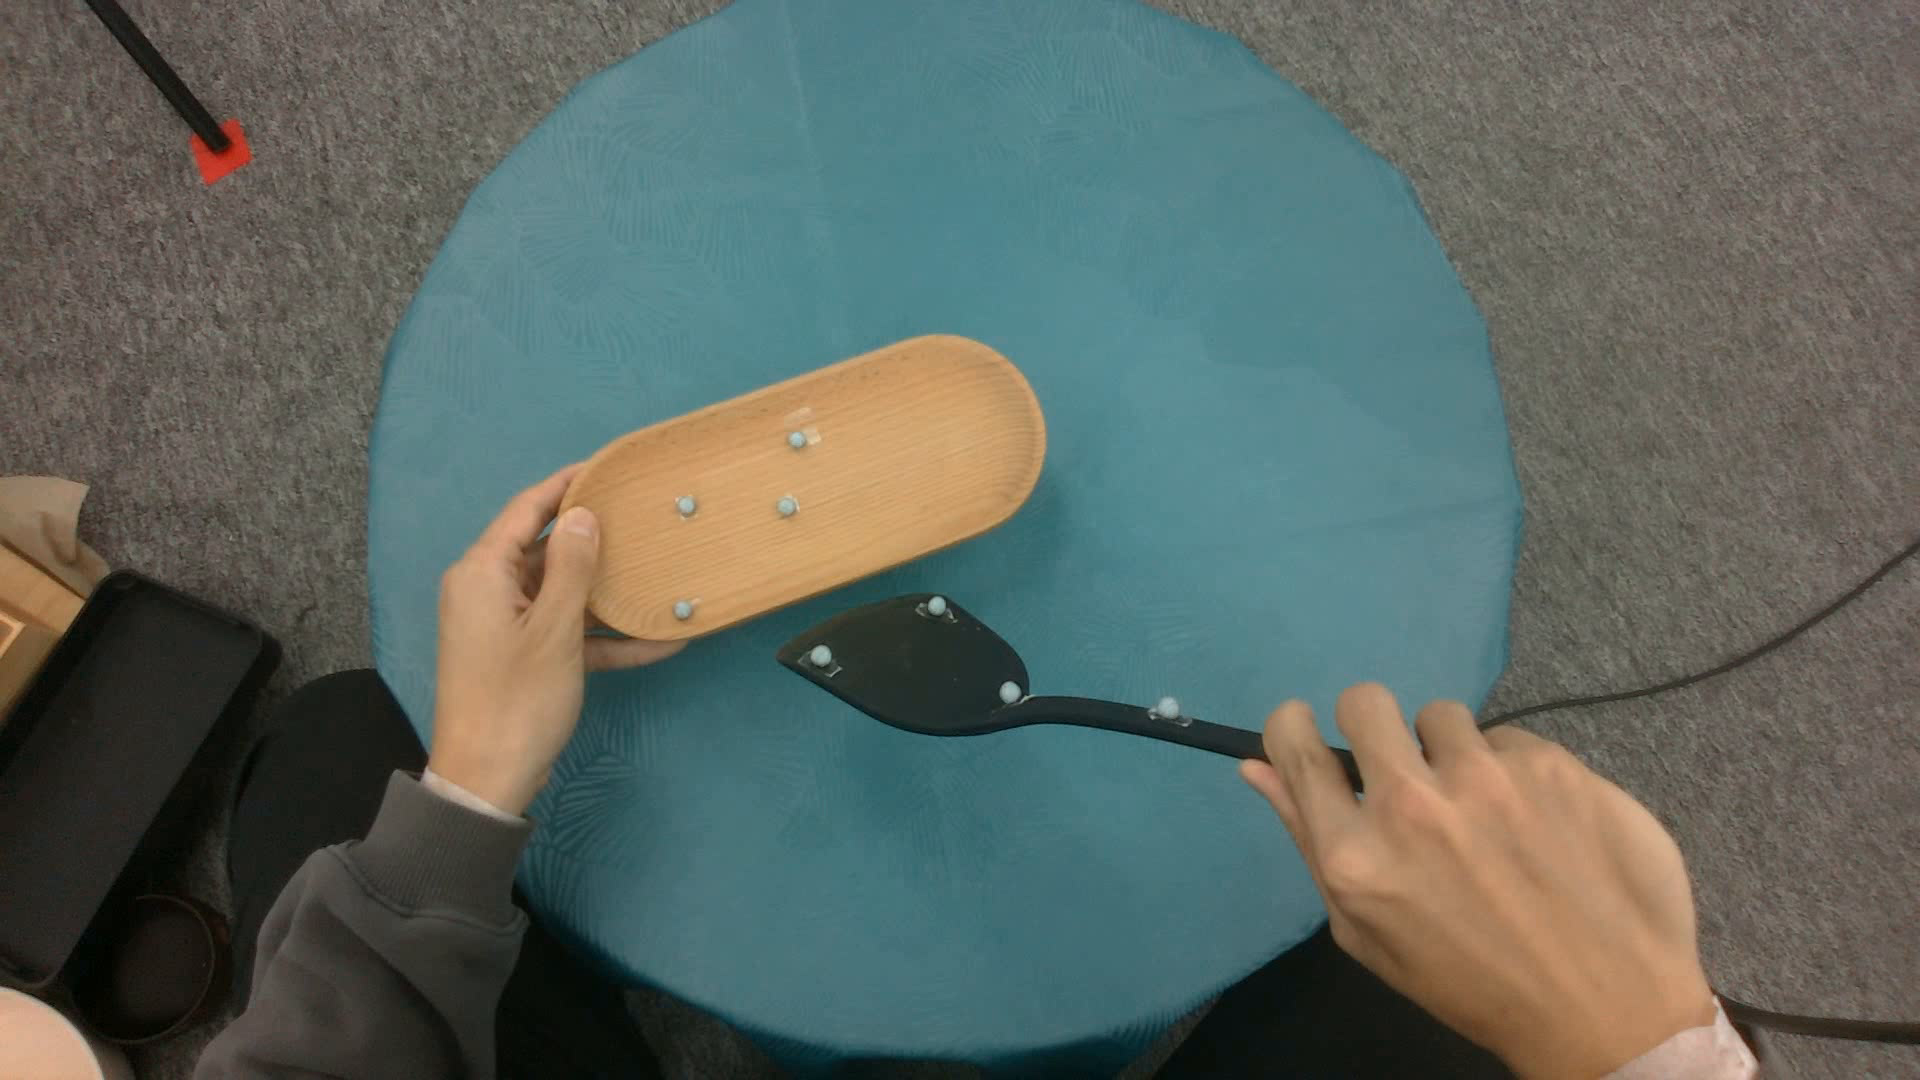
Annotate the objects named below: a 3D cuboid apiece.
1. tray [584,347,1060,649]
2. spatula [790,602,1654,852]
[{"bbox_3d":[-0.064,-0.021,0.654,0.231,0.020,0.102,-20,78,-8],"label":"tray"},{"bbox_3d":[0.080,0.067,0.511,0.325,0.100,0.040,5,108,39],"label":"spatula"}]
